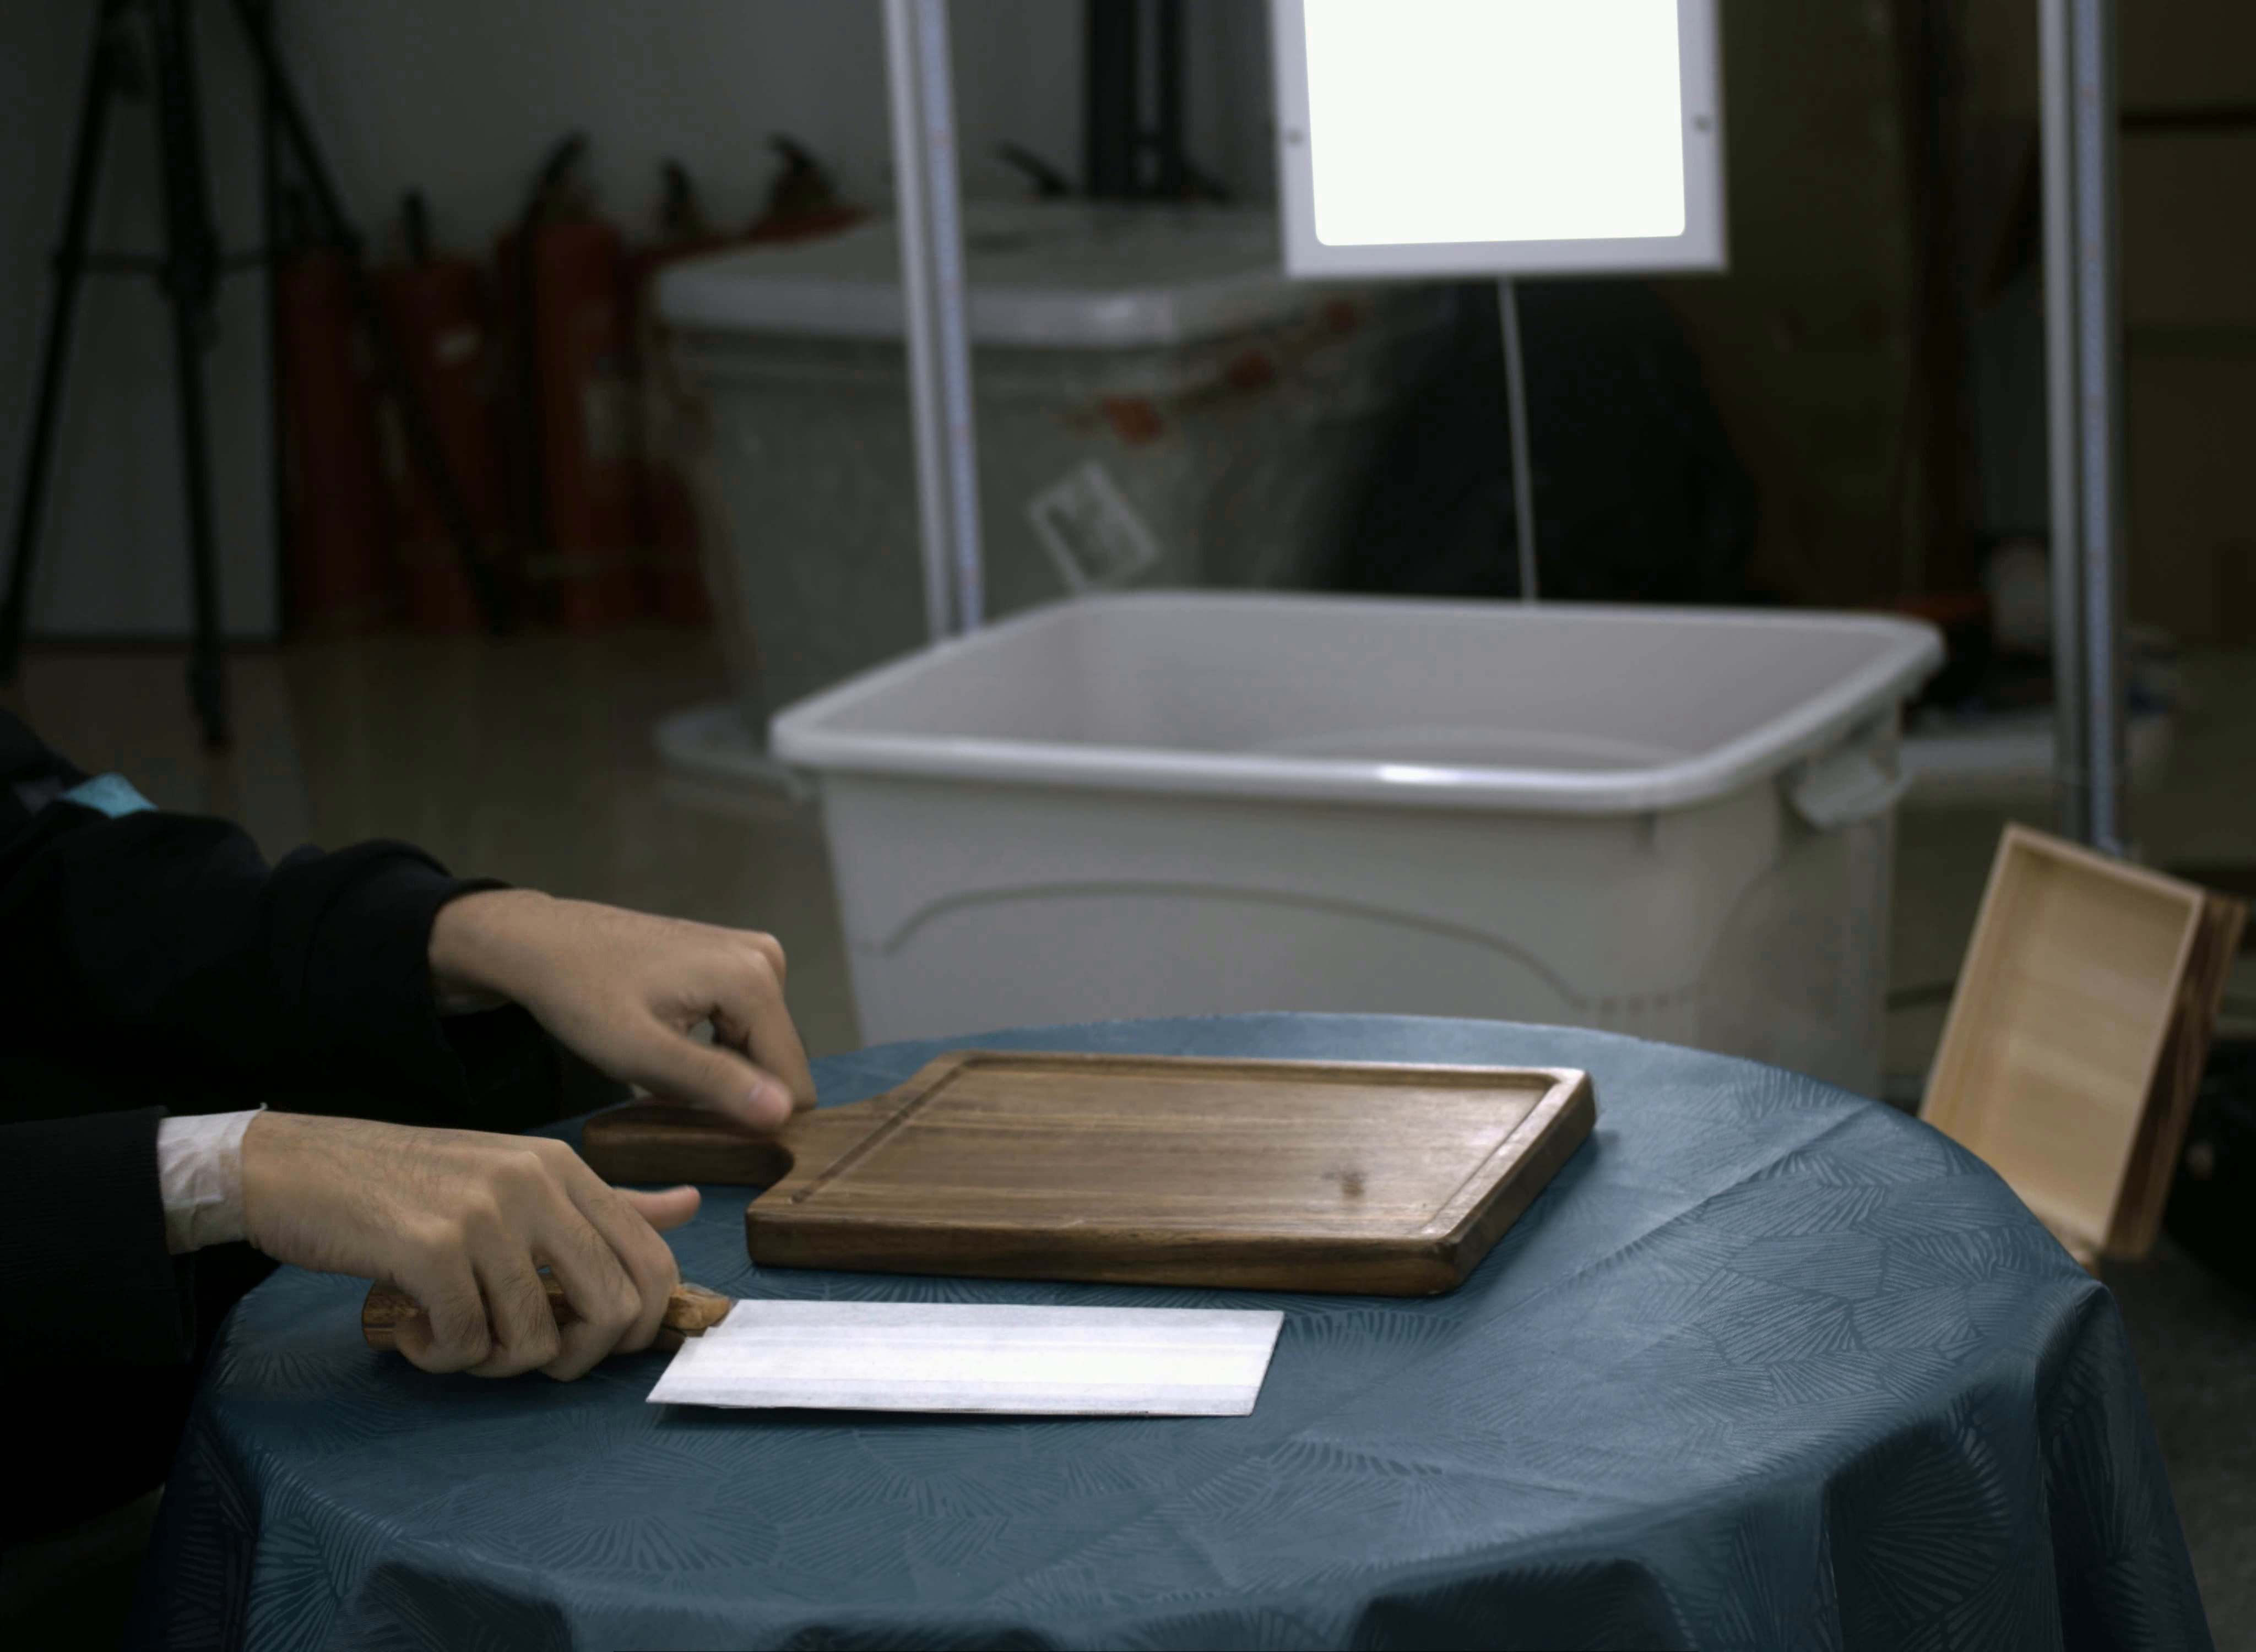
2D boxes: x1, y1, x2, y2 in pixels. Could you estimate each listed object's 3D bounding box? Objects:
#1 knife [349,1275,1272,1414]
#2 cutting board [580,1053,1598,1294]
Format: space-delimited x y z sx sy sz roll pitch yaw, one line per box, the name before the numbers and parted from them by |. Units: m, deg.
knife | -0.106 0.166 1.743 0.308 0.021 0.092 0 16 11
cutting board | -0.027 0.116 1.907 0.357 0.023 0.197 0 15 22
